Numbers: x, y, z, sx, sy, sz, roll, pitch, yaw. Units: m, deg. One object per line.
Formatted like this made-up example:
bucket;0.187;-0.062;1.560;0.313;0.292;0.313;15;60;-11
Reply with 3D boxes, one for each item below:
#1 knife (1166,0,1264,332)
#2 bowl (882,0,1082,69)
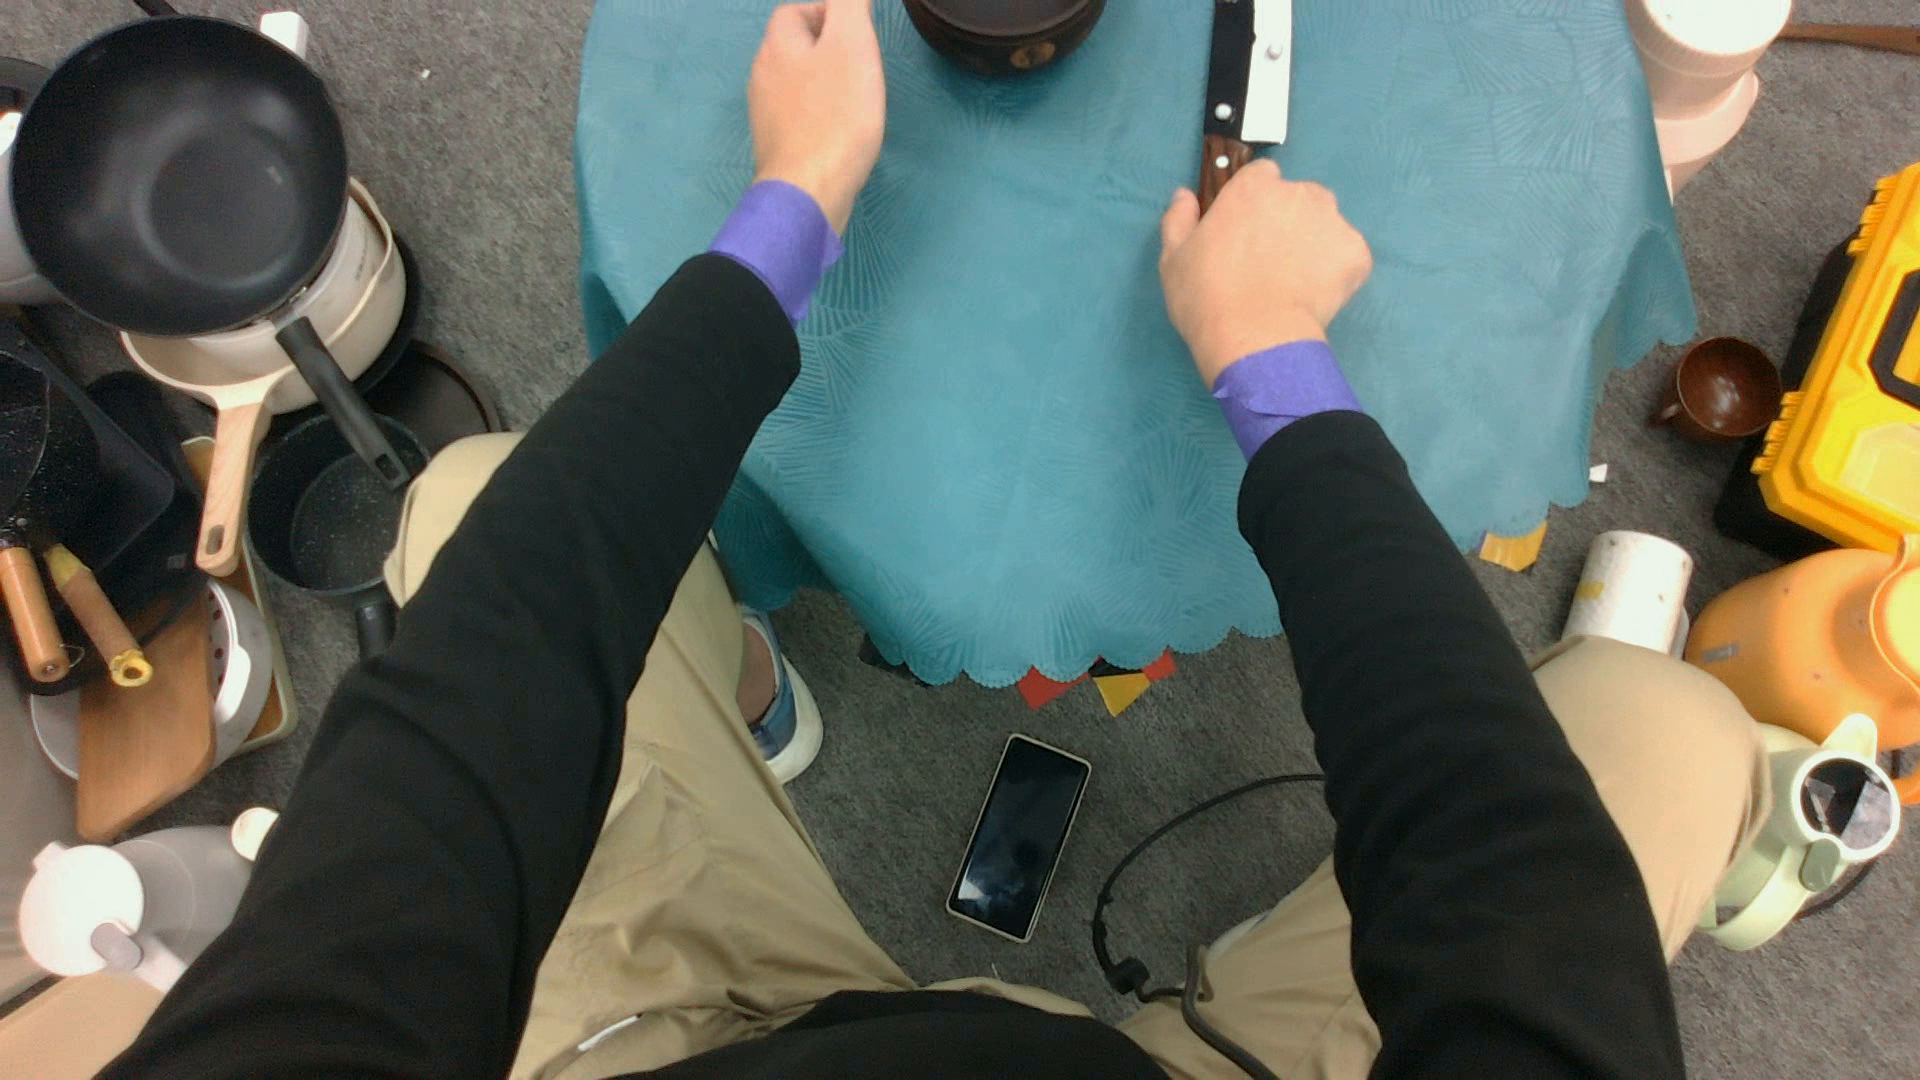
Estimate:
knife;0.143;-0.248;0.767;0.050;0.020;0.290;7;74;9
bowl;0.012;-0.313;0.757;0.118;0.070;0.118;0;78;0
